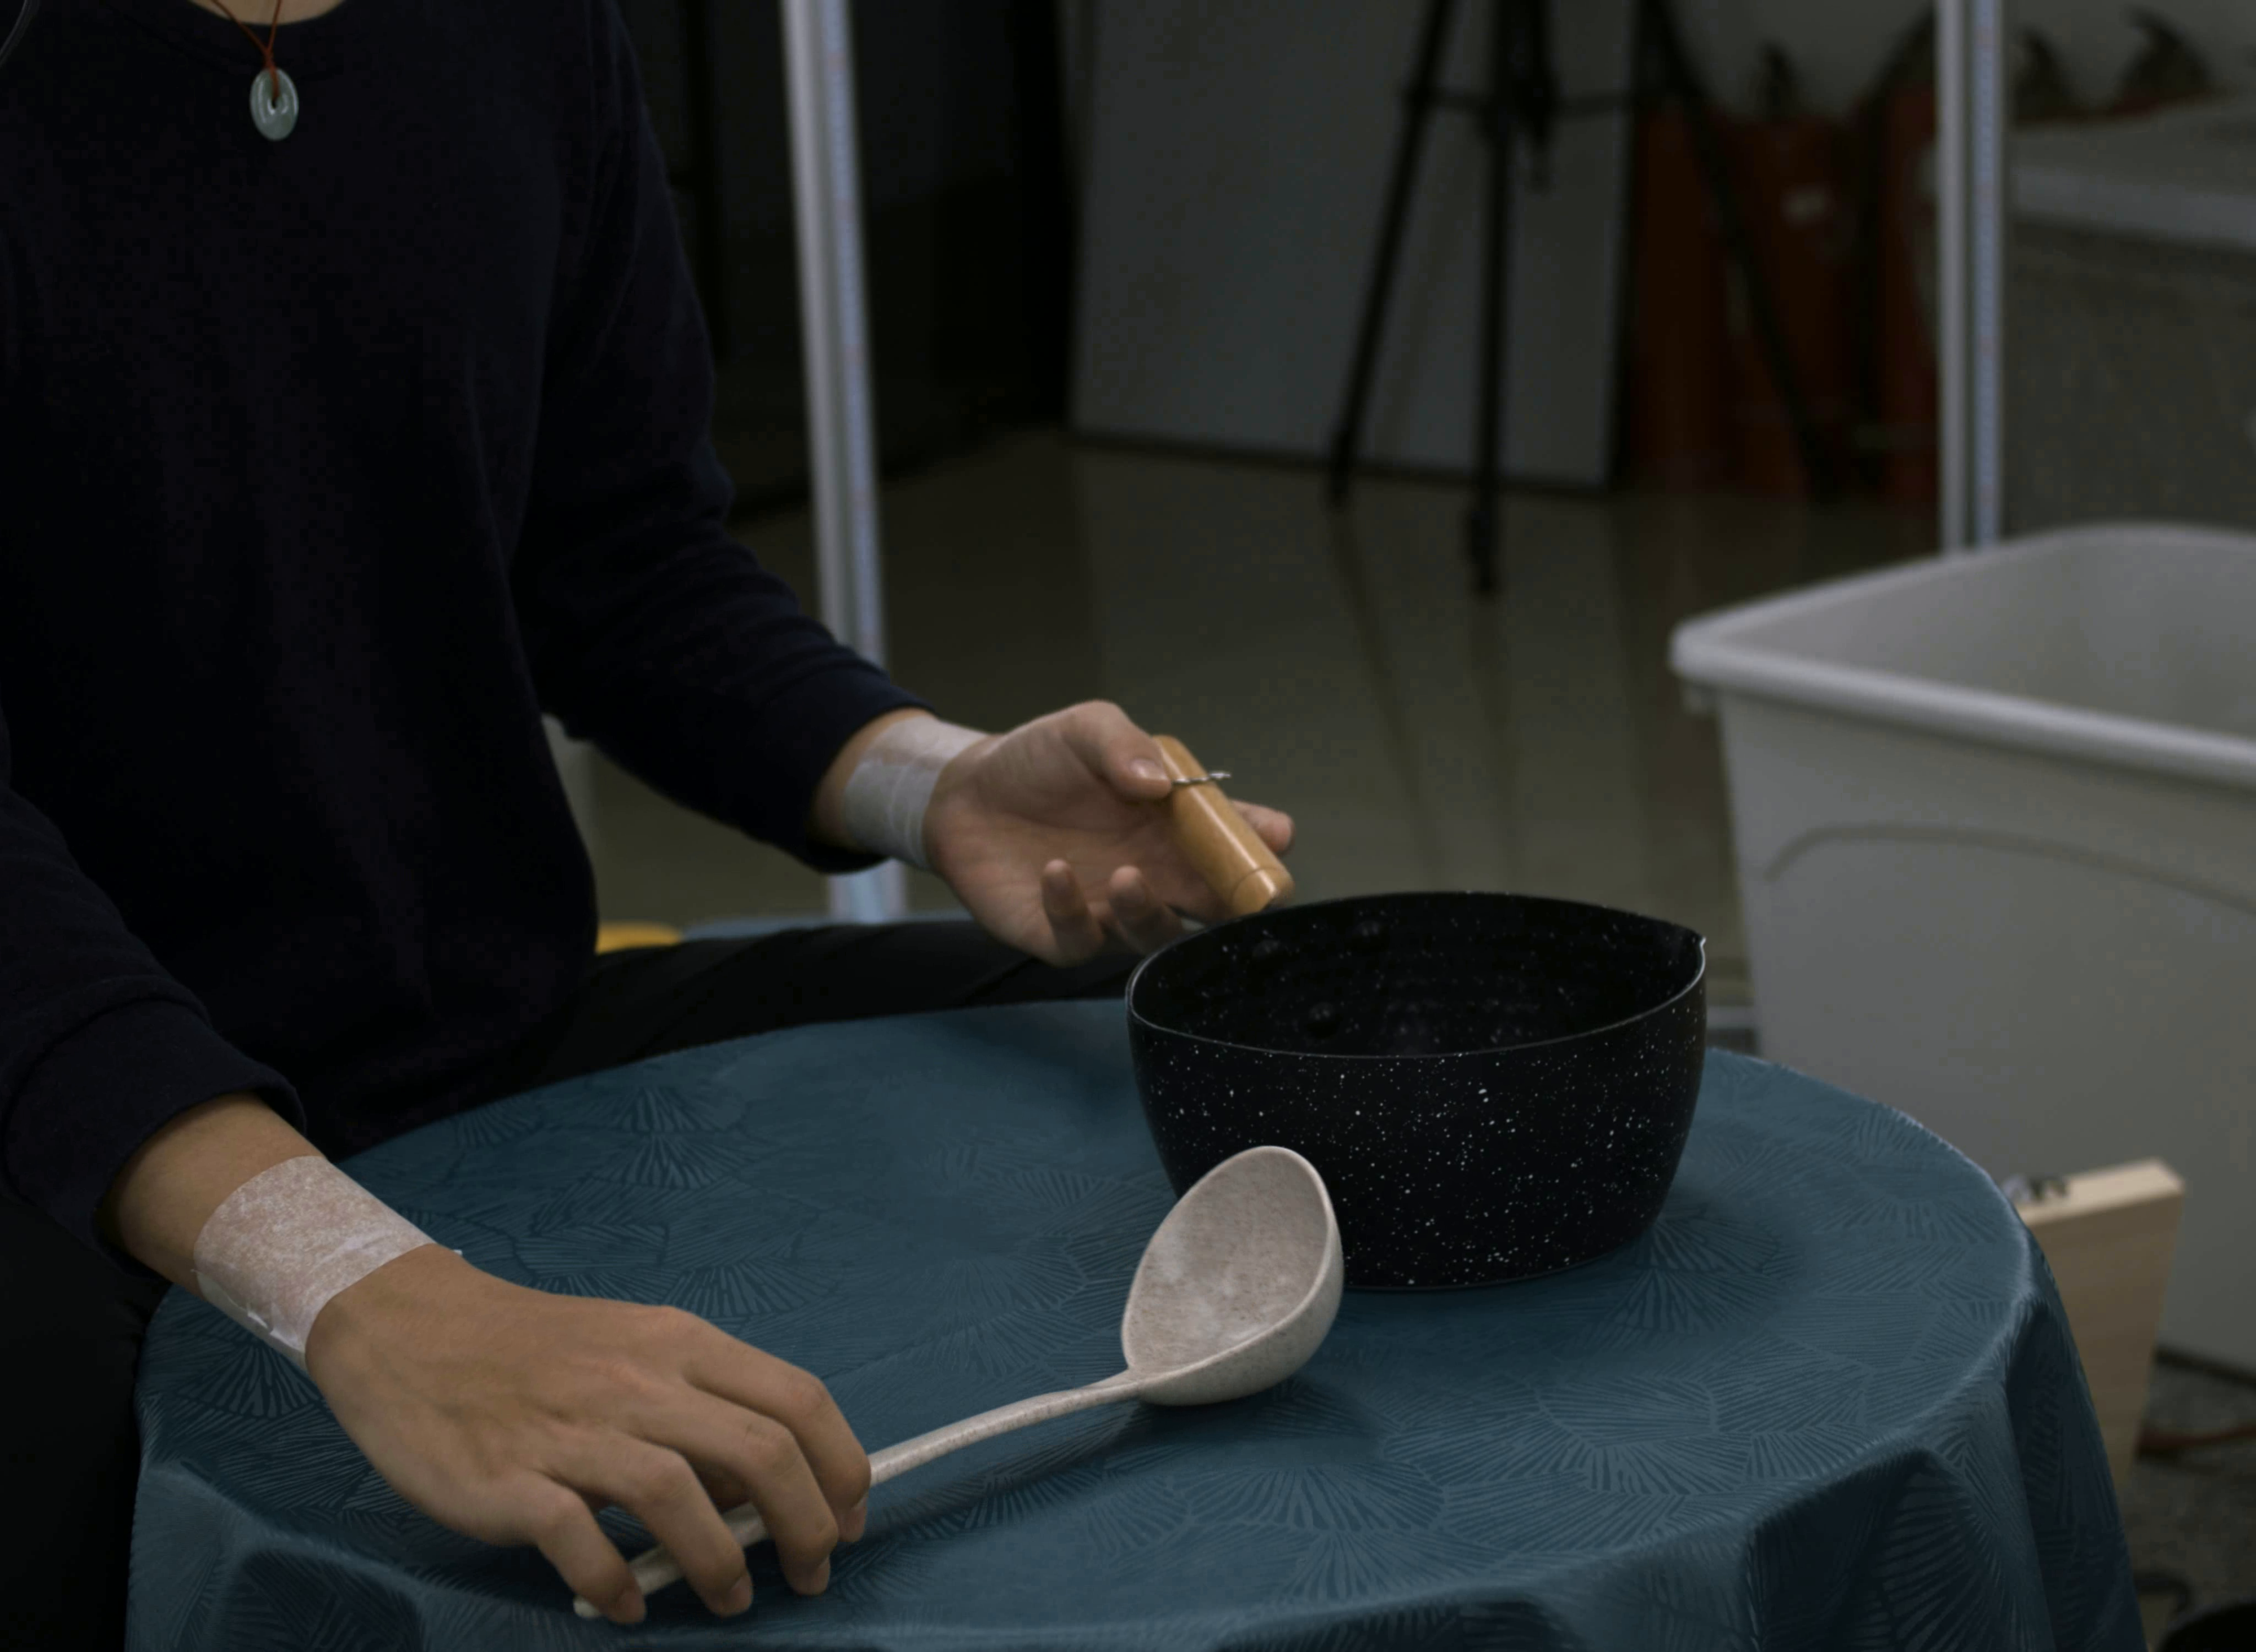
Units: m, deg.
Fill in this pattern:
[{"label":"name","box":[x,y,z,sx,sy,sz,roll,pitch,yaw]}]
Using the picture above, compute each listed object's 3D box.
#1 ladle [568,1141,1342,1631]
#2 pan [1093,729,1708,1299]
[{"label":"ladle","box":[-0.050,0.152,1.508,0.269,0.070,0.090,-15,6,-39]},{"label":"pan","box":[0.065,0.057,1.784,0.203,0.109,0.346,-10,16,-18]}]
